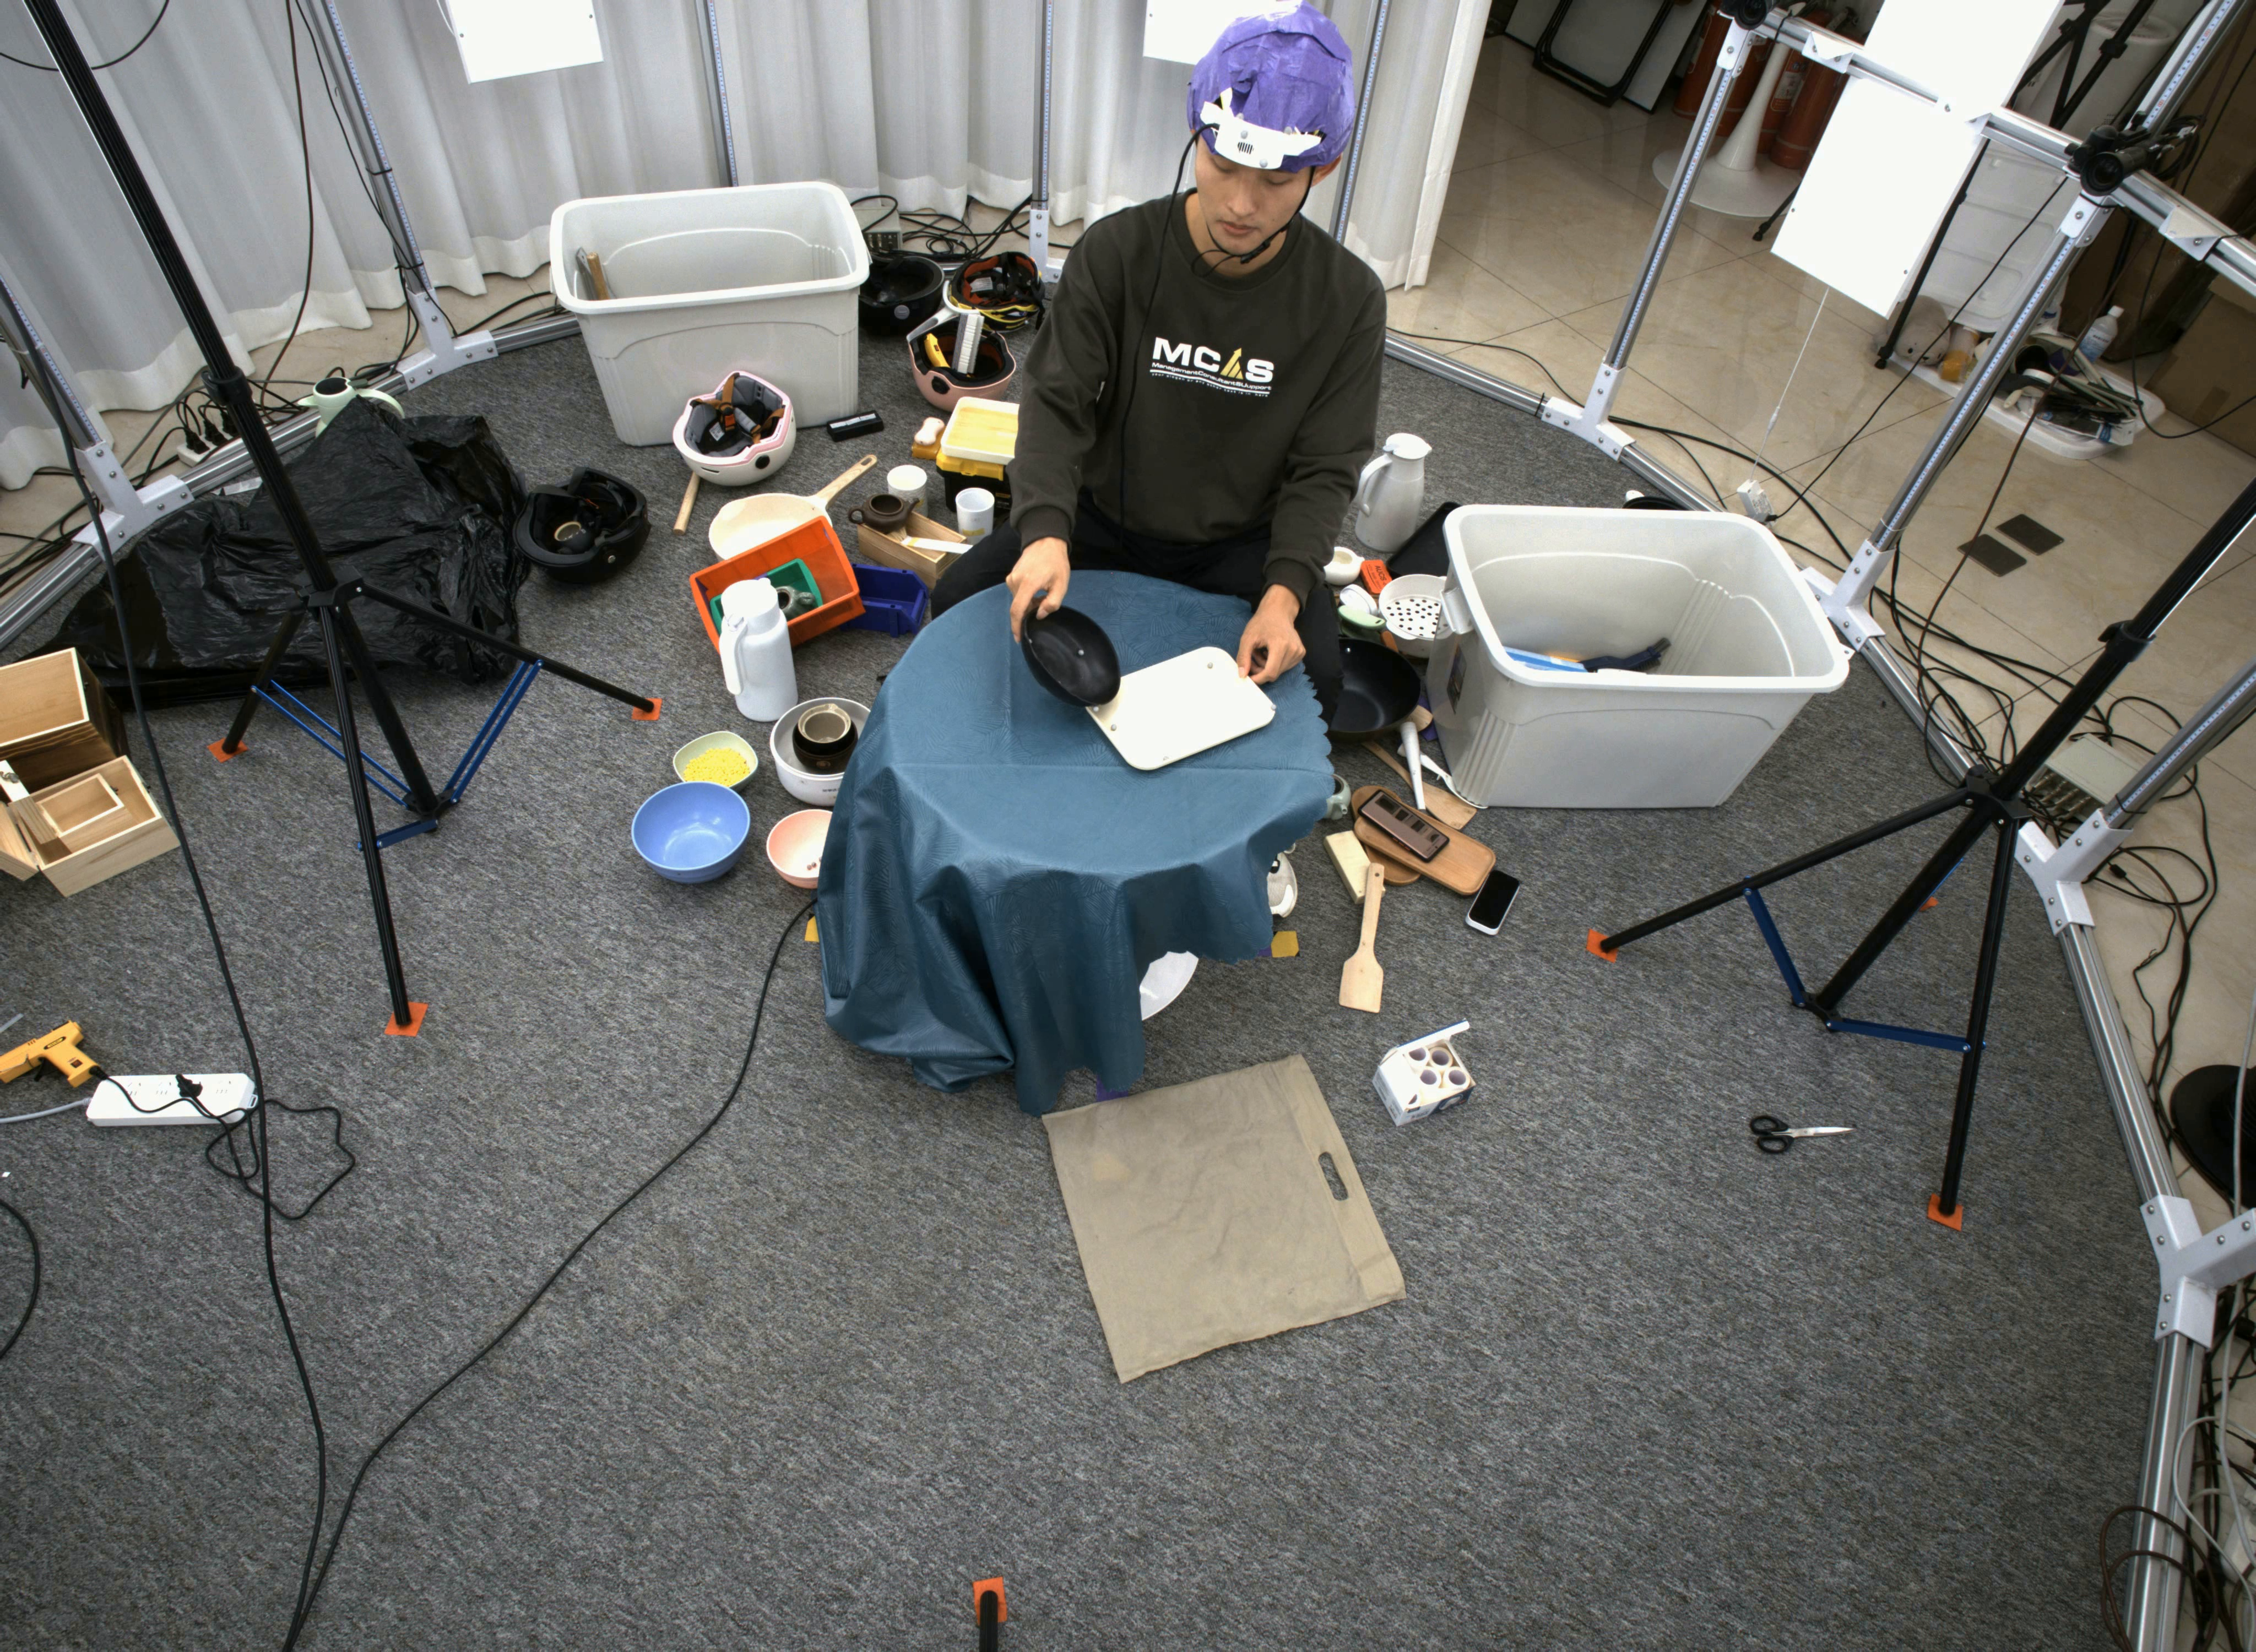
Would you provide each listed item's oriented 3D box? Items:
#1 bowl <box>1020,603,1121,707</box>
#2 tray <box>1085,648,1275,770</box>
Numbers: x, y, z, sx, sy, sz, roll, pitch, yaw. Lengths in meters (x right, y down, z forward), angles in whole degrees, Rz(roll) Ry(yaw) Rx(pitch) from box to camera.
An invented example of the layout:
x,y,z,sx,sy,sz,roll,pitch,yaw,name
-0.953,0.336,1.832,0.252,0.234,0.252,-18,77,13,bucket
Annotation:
x,y,z,sx,sy,sz,roll,pitch,yaw,name
-0.089,-0.227,1.770,0.168,0.066,0.140,35,50,-27,bowl
0.073,-0.166,1.803,0.240,0.017,0.175,-22,53,-22,tray
